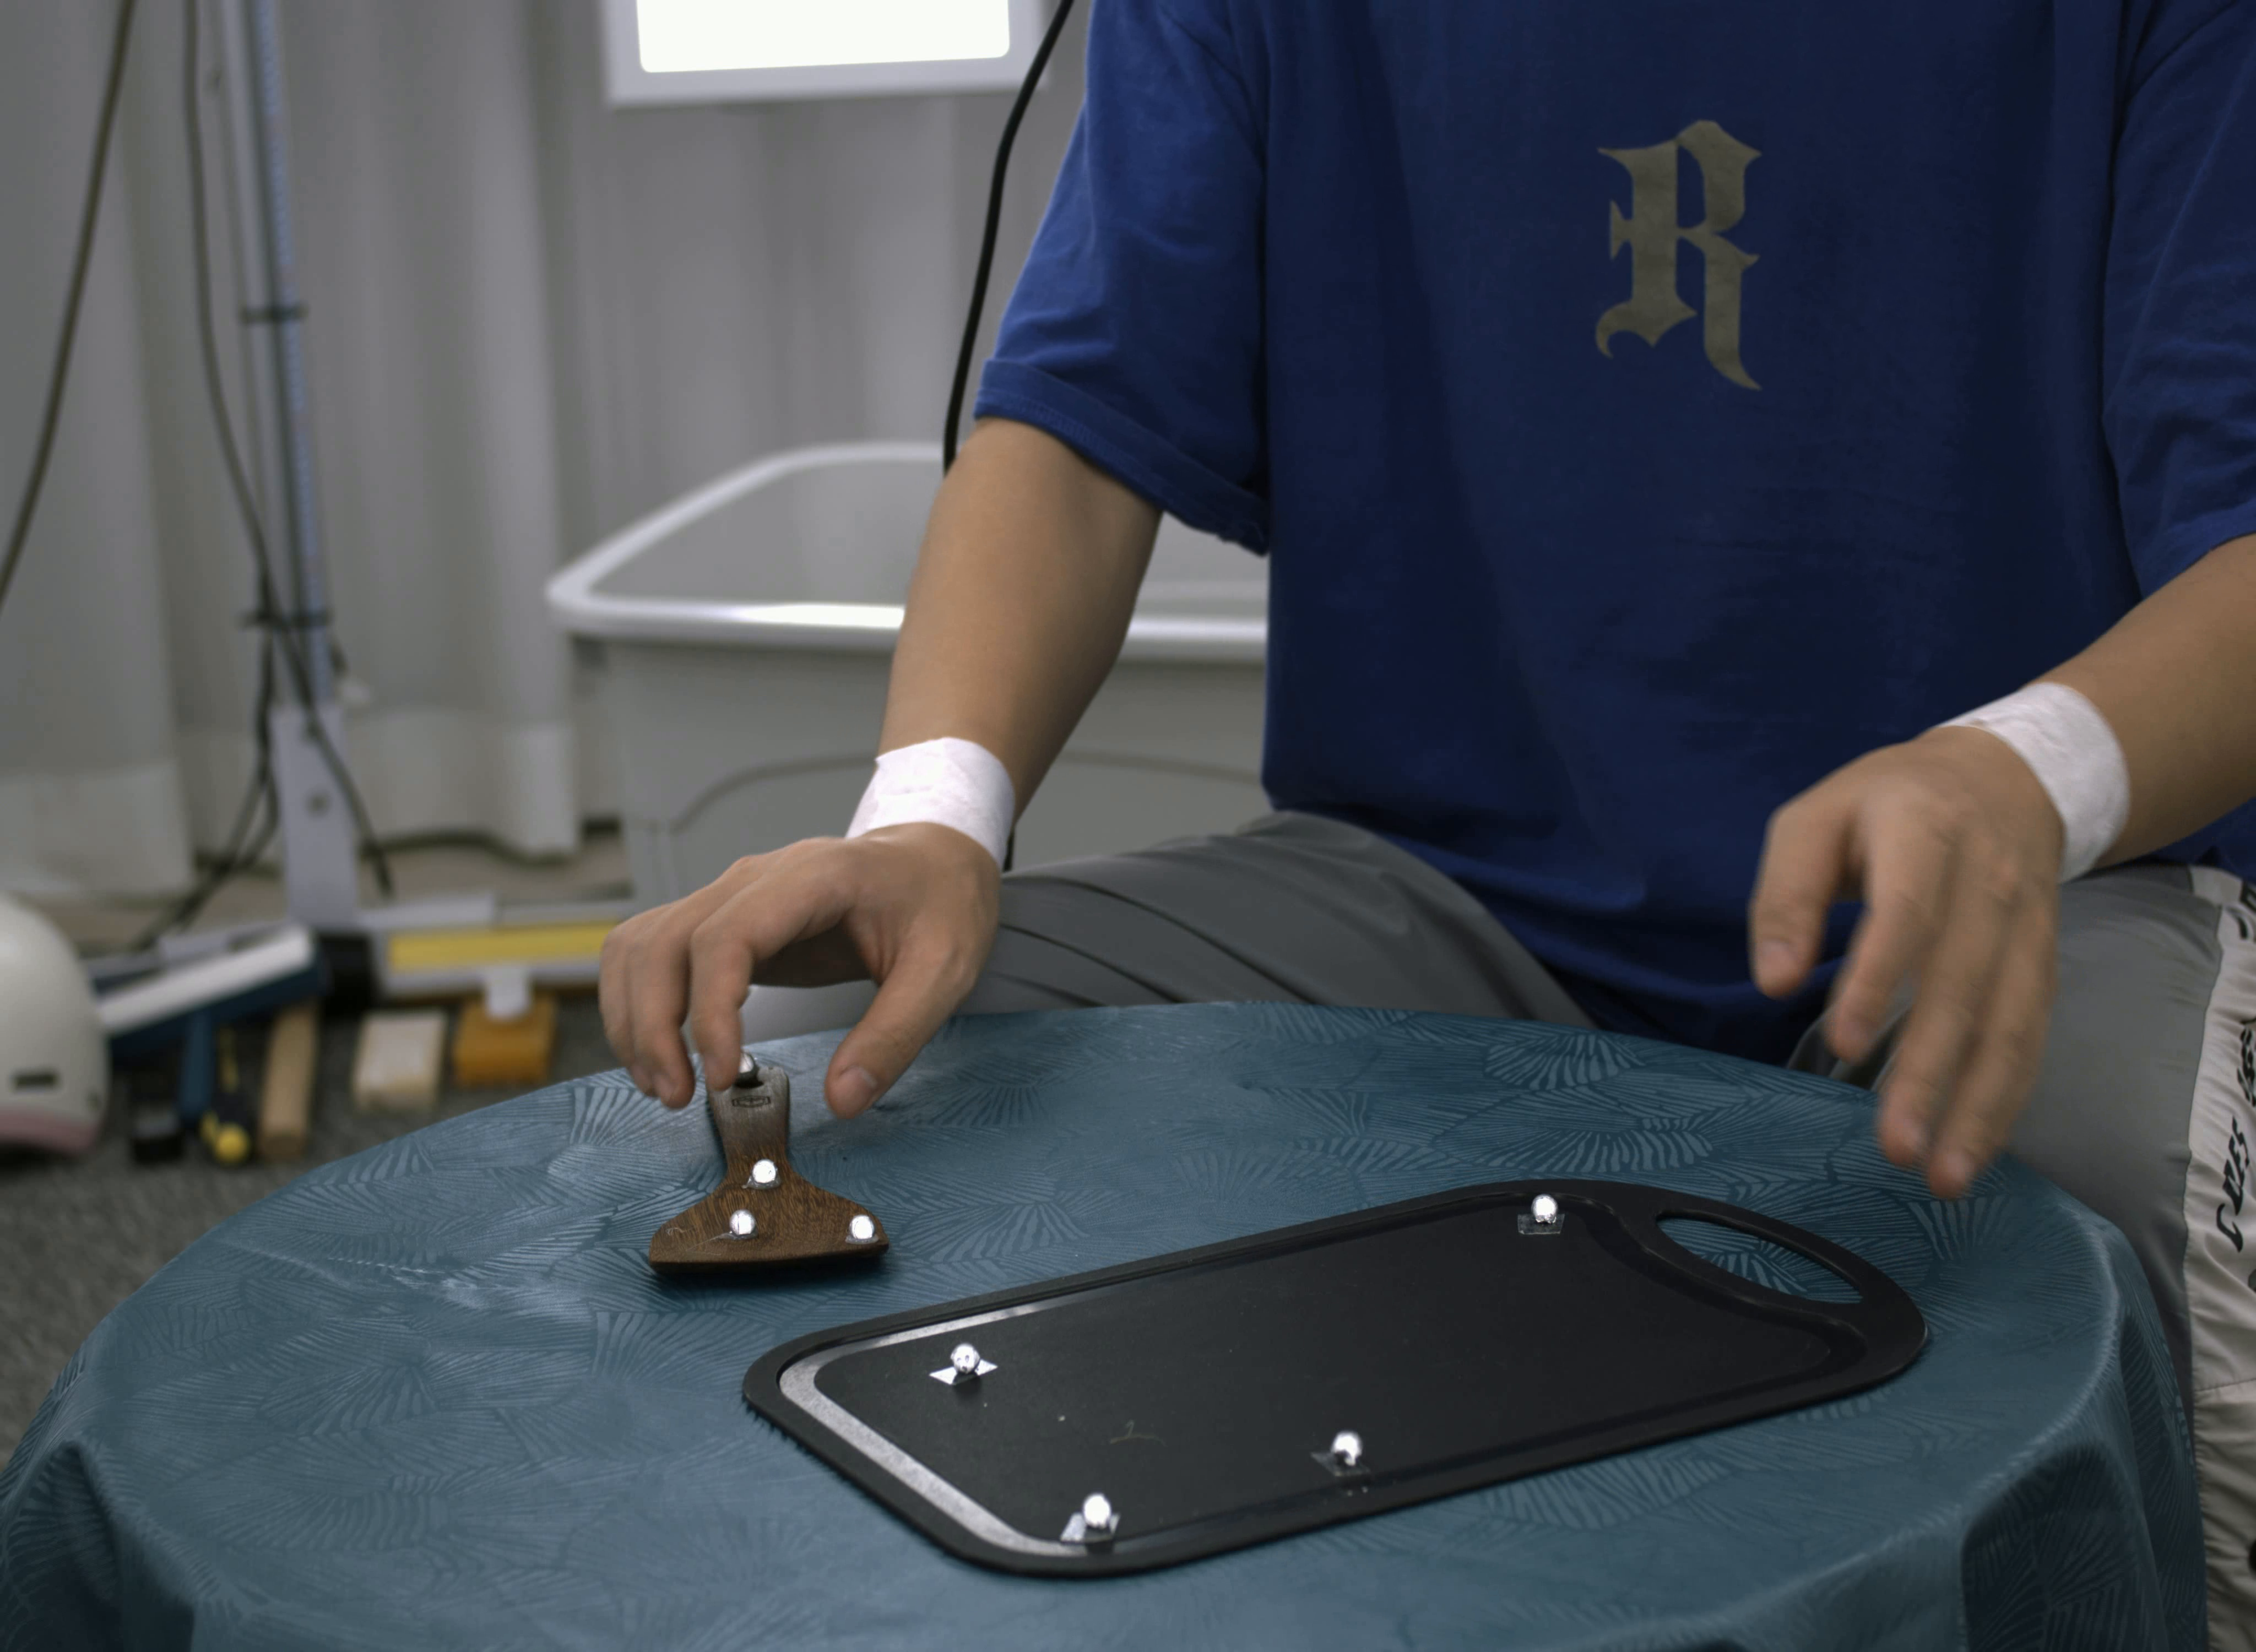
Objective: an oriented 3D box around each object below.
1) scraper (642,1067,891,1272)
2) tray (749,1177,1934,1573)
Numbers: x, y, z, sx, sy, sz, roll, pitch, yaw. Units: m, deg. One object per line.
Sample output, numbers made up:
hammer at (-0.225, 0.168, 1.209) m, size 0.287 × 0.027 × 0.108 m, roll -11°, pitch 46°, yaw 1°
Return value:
scraper at (-0.118, 0.109, 1.739) m, size 0.075 × 0.011 × 0.213 m, roll -3°, pitch 14°, yaw -5°
tray at (0.066, 0.148, 1.556) m, size 0.324 × 0.010 × 0.213 m, roll -10°, pitch 16°, yaw -26°
